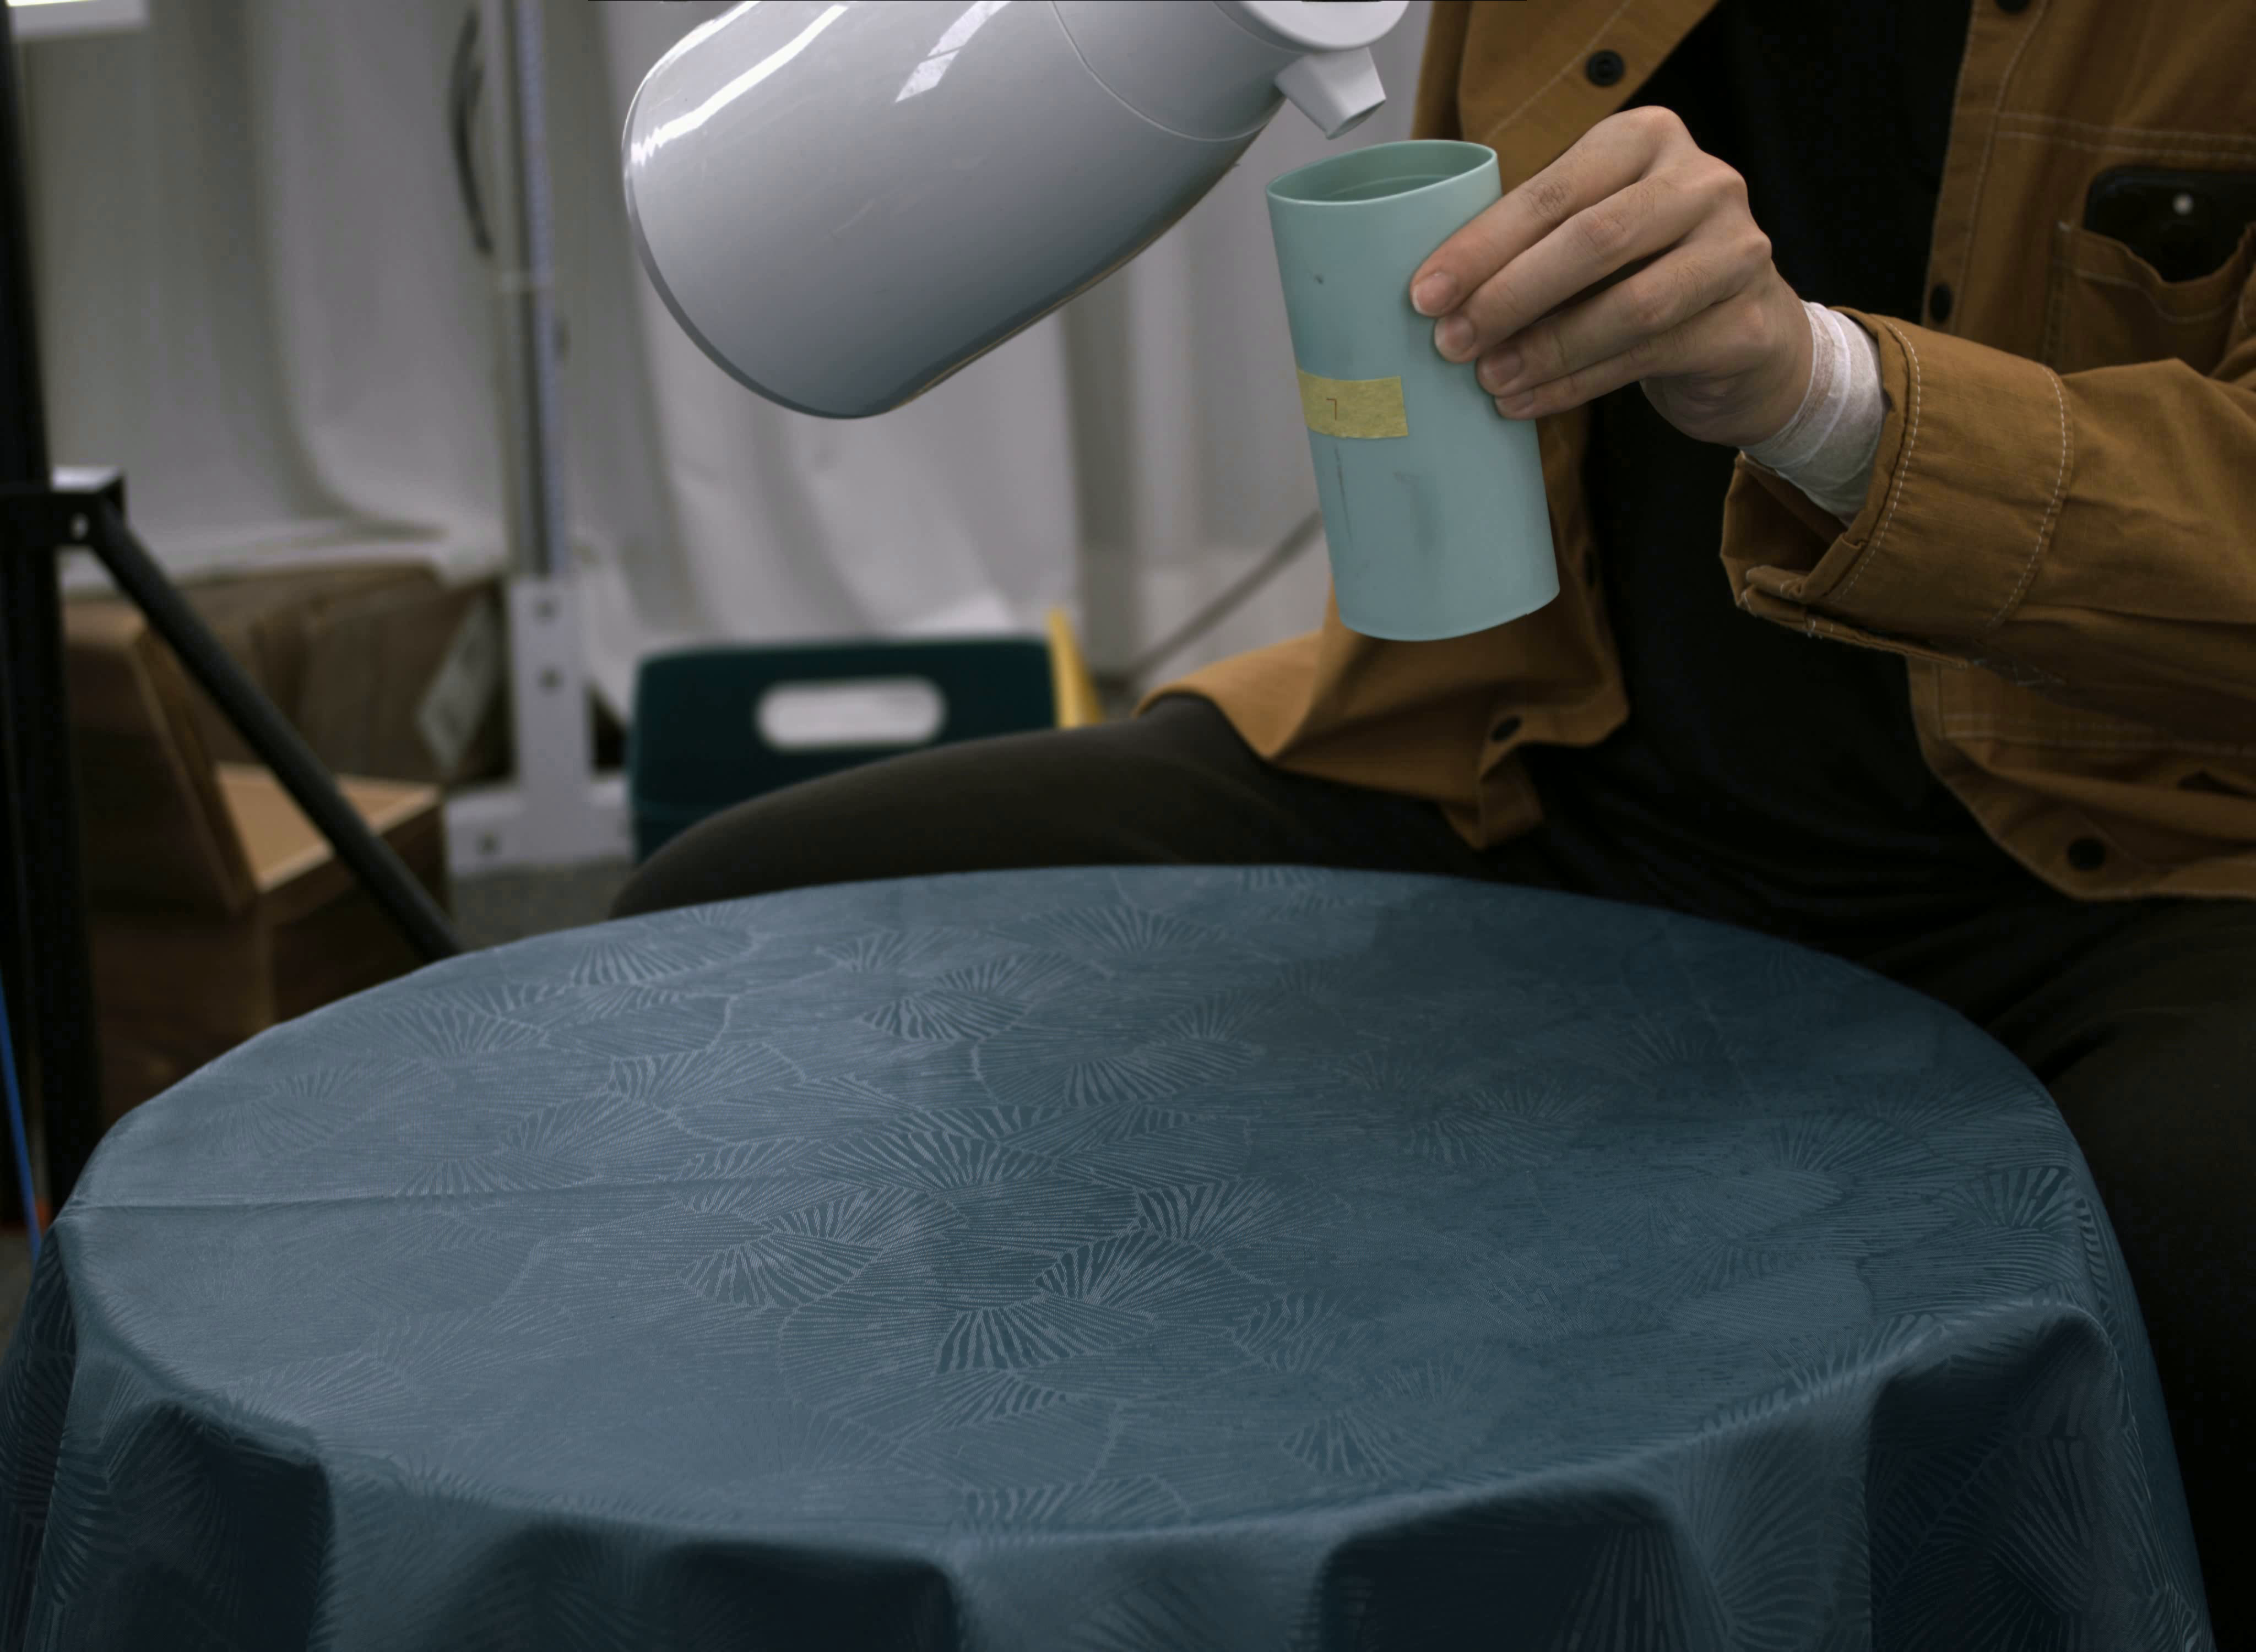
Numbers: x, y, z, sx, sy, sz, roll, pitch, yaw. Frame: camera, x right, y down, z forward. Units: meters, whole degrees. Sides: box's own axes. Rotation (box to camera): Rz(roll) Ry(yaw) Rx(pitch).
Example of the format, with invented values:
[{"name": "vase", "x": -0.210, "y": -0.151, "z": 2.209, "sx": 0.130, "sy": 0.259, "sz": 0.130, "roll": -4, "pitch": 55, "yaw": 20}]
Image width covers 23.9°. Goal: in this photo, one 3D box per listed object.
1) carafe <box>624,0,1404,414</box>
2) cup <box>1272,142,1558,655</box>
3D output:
[{"name": "carafe", "x": -0.036, "y": -0.242, "z": 1.568, "sx": 0.130, "sy": 0.168, "sz": 0.252, "roll": -32, "pitch": 3, "yaw": -43}, {"name": "cup", "x": 0.084, "y": -0.122, "z": 1.515, "sx": 0.066, "sy": 0.132, "sz": 0.067, "roll": -9, "pitch": 19, "yaw": 2}]
